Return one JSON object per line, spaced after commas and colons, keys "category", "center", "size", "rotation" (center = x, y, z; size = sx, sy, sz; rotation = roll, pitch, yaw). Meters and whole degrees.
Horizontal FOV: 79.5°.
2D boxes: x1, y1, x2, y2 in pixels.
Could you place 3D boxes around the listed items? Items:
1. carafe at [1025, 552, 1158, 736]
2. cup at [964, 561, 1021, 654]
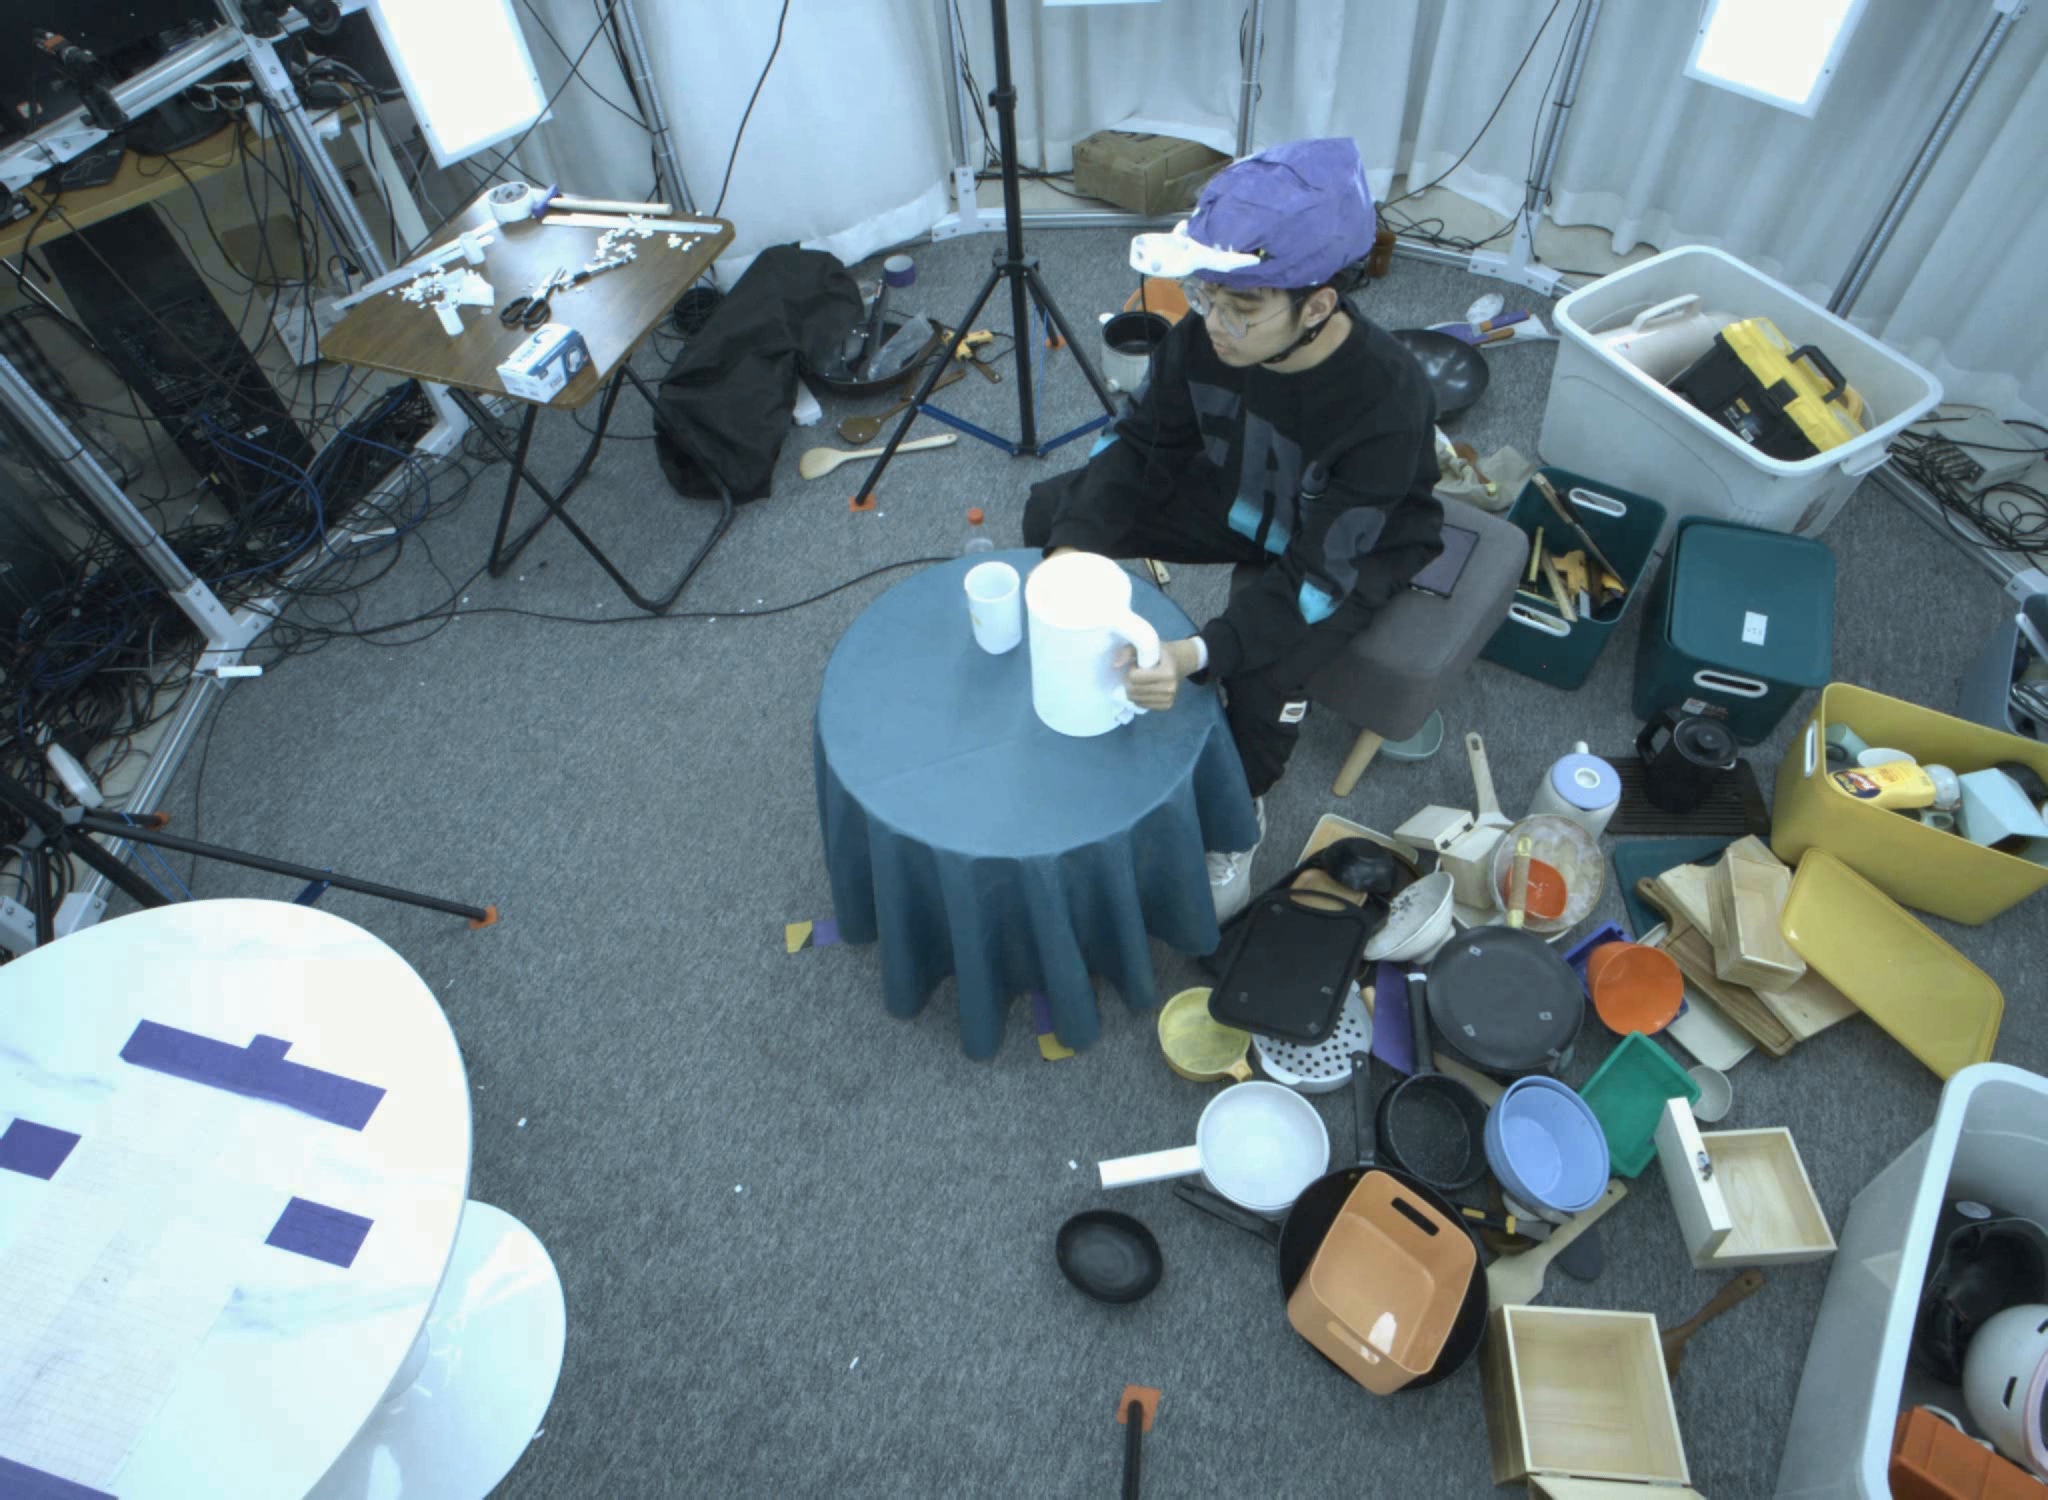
{"category": "carafe", "center": [0.098, -0.134, 1.731], "size": [0.209, 0.243, 0.153], "rotation": [36, 65, 26]}
{"category": "cup", "center": [-0.045, -0.213, 1.859], "size": [0.081, 0.127, 0.081], "rotation": [-1, 54, 2]}
